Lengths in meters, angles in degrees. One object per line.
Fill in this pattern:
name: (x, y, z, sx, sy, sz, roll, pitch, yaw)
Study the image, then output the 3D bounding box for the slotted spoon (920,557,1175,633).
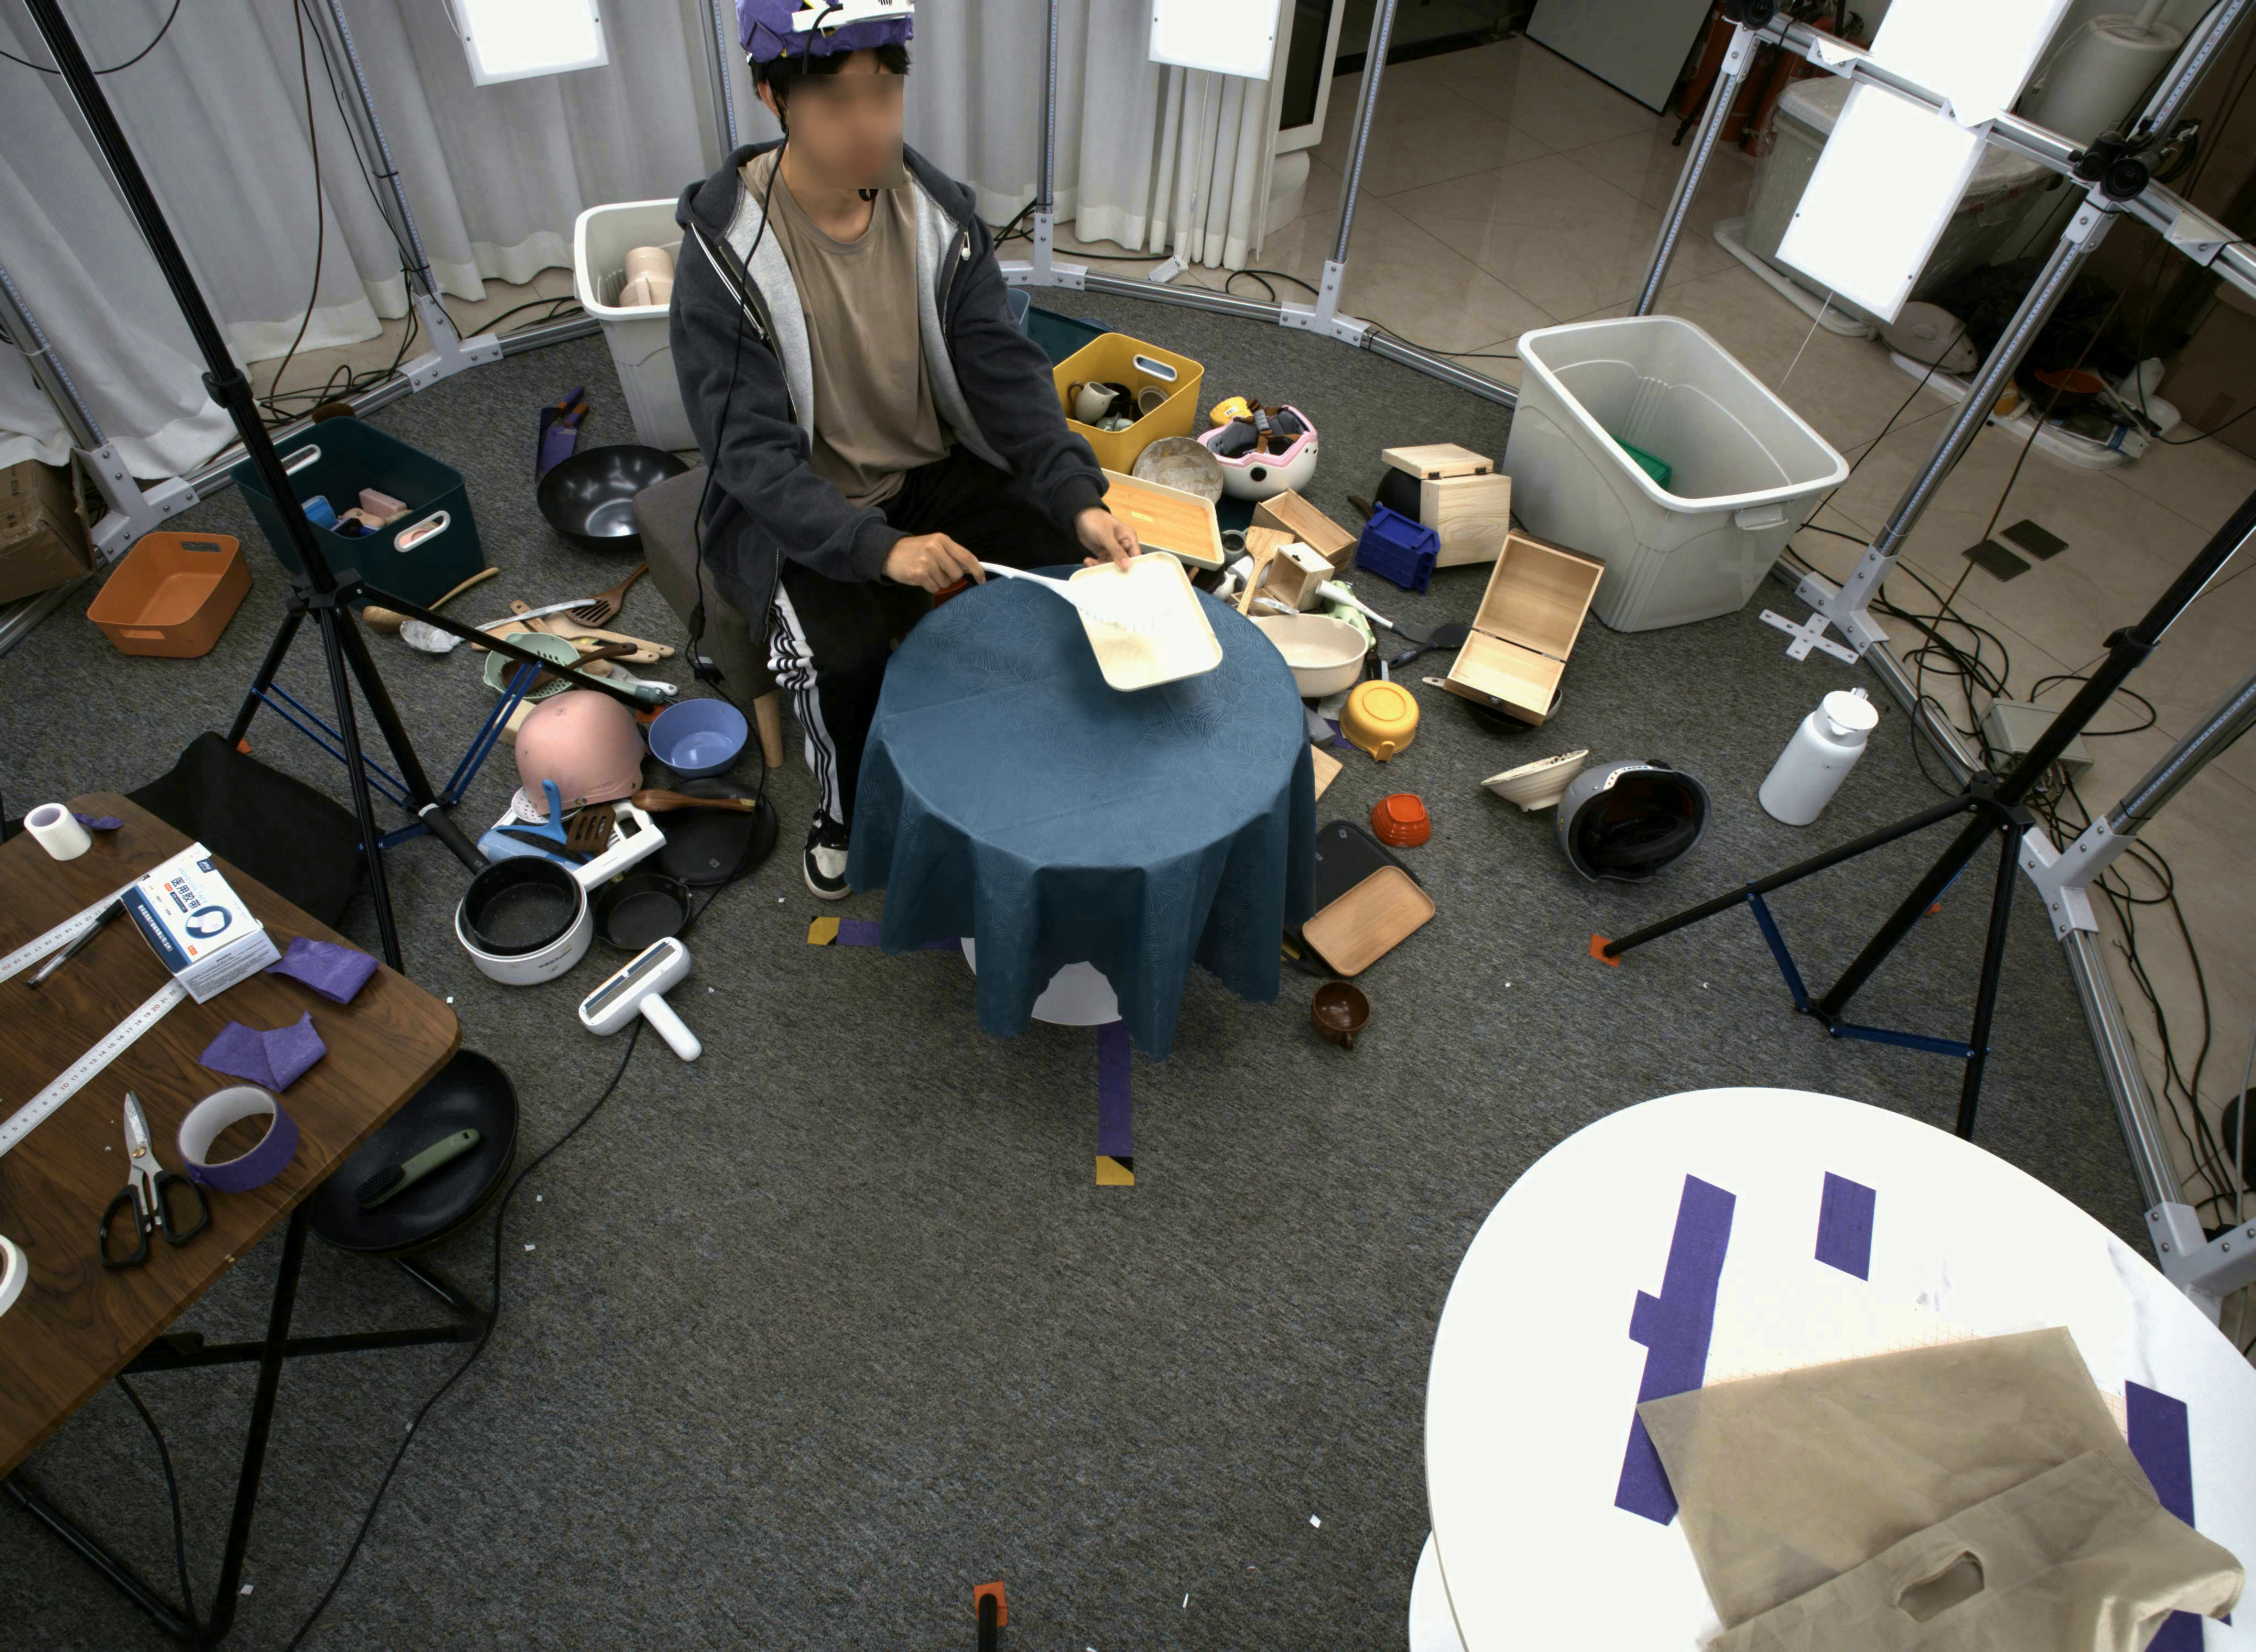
slotted spoon: (-0.107, -0.320, 1.733, 0.348, 0.136, 0.050, 20, 88, 3)

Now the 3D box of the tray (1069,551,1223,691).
tray: (0.022, -0.291, 1.816, 0.171, 0.017, 0.245, -15, 55, -8)
